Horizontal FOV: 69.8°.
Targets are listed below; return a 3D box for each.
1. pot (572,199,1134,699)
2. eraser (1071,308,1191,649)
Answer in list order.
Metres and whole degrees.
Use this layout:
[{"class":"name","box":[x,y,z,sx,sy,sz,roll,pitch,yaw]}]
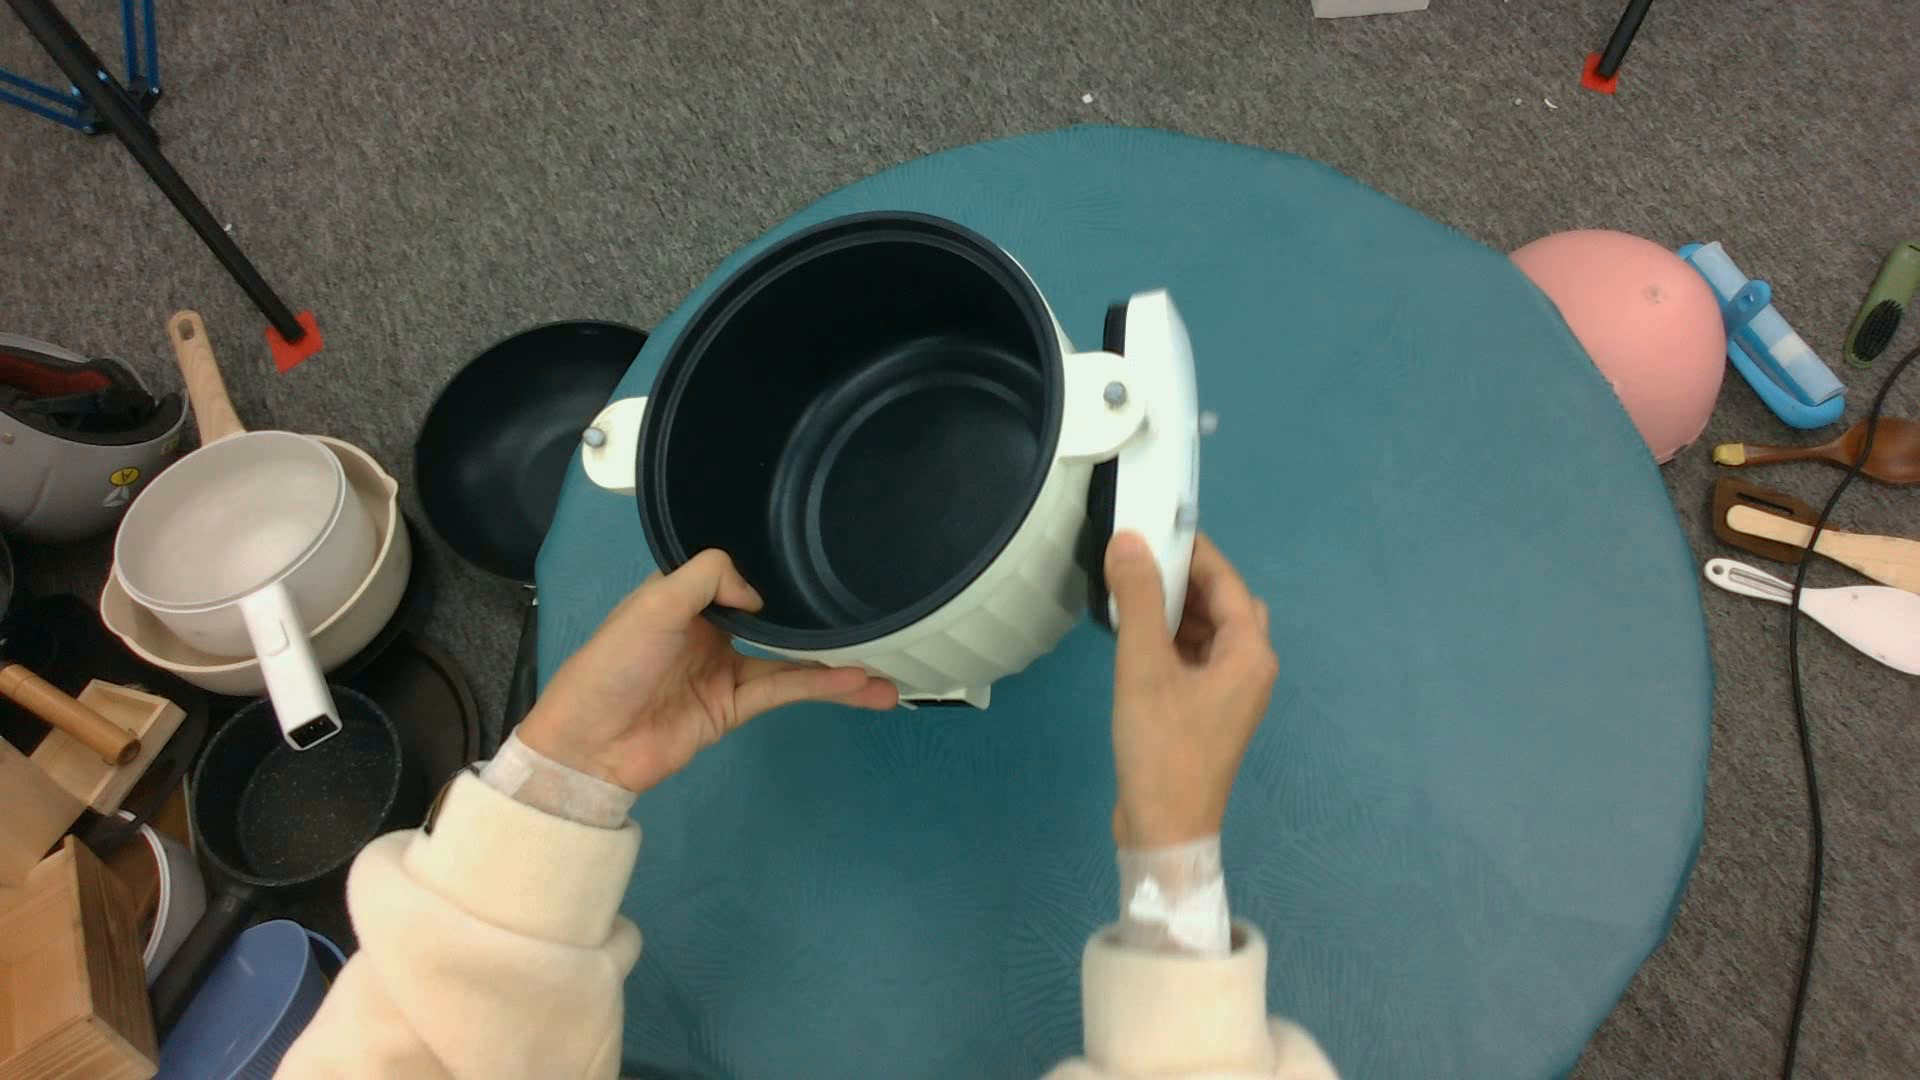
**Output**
[{"class":"pot","box":[-0.028,-0.036,0.585,0.240,0.142,0.191,-5,74,20]},{"class":"eraser","box":[0.070,-0.024,0.546,0.034,0.063,0.131,-2,77,23]}]
